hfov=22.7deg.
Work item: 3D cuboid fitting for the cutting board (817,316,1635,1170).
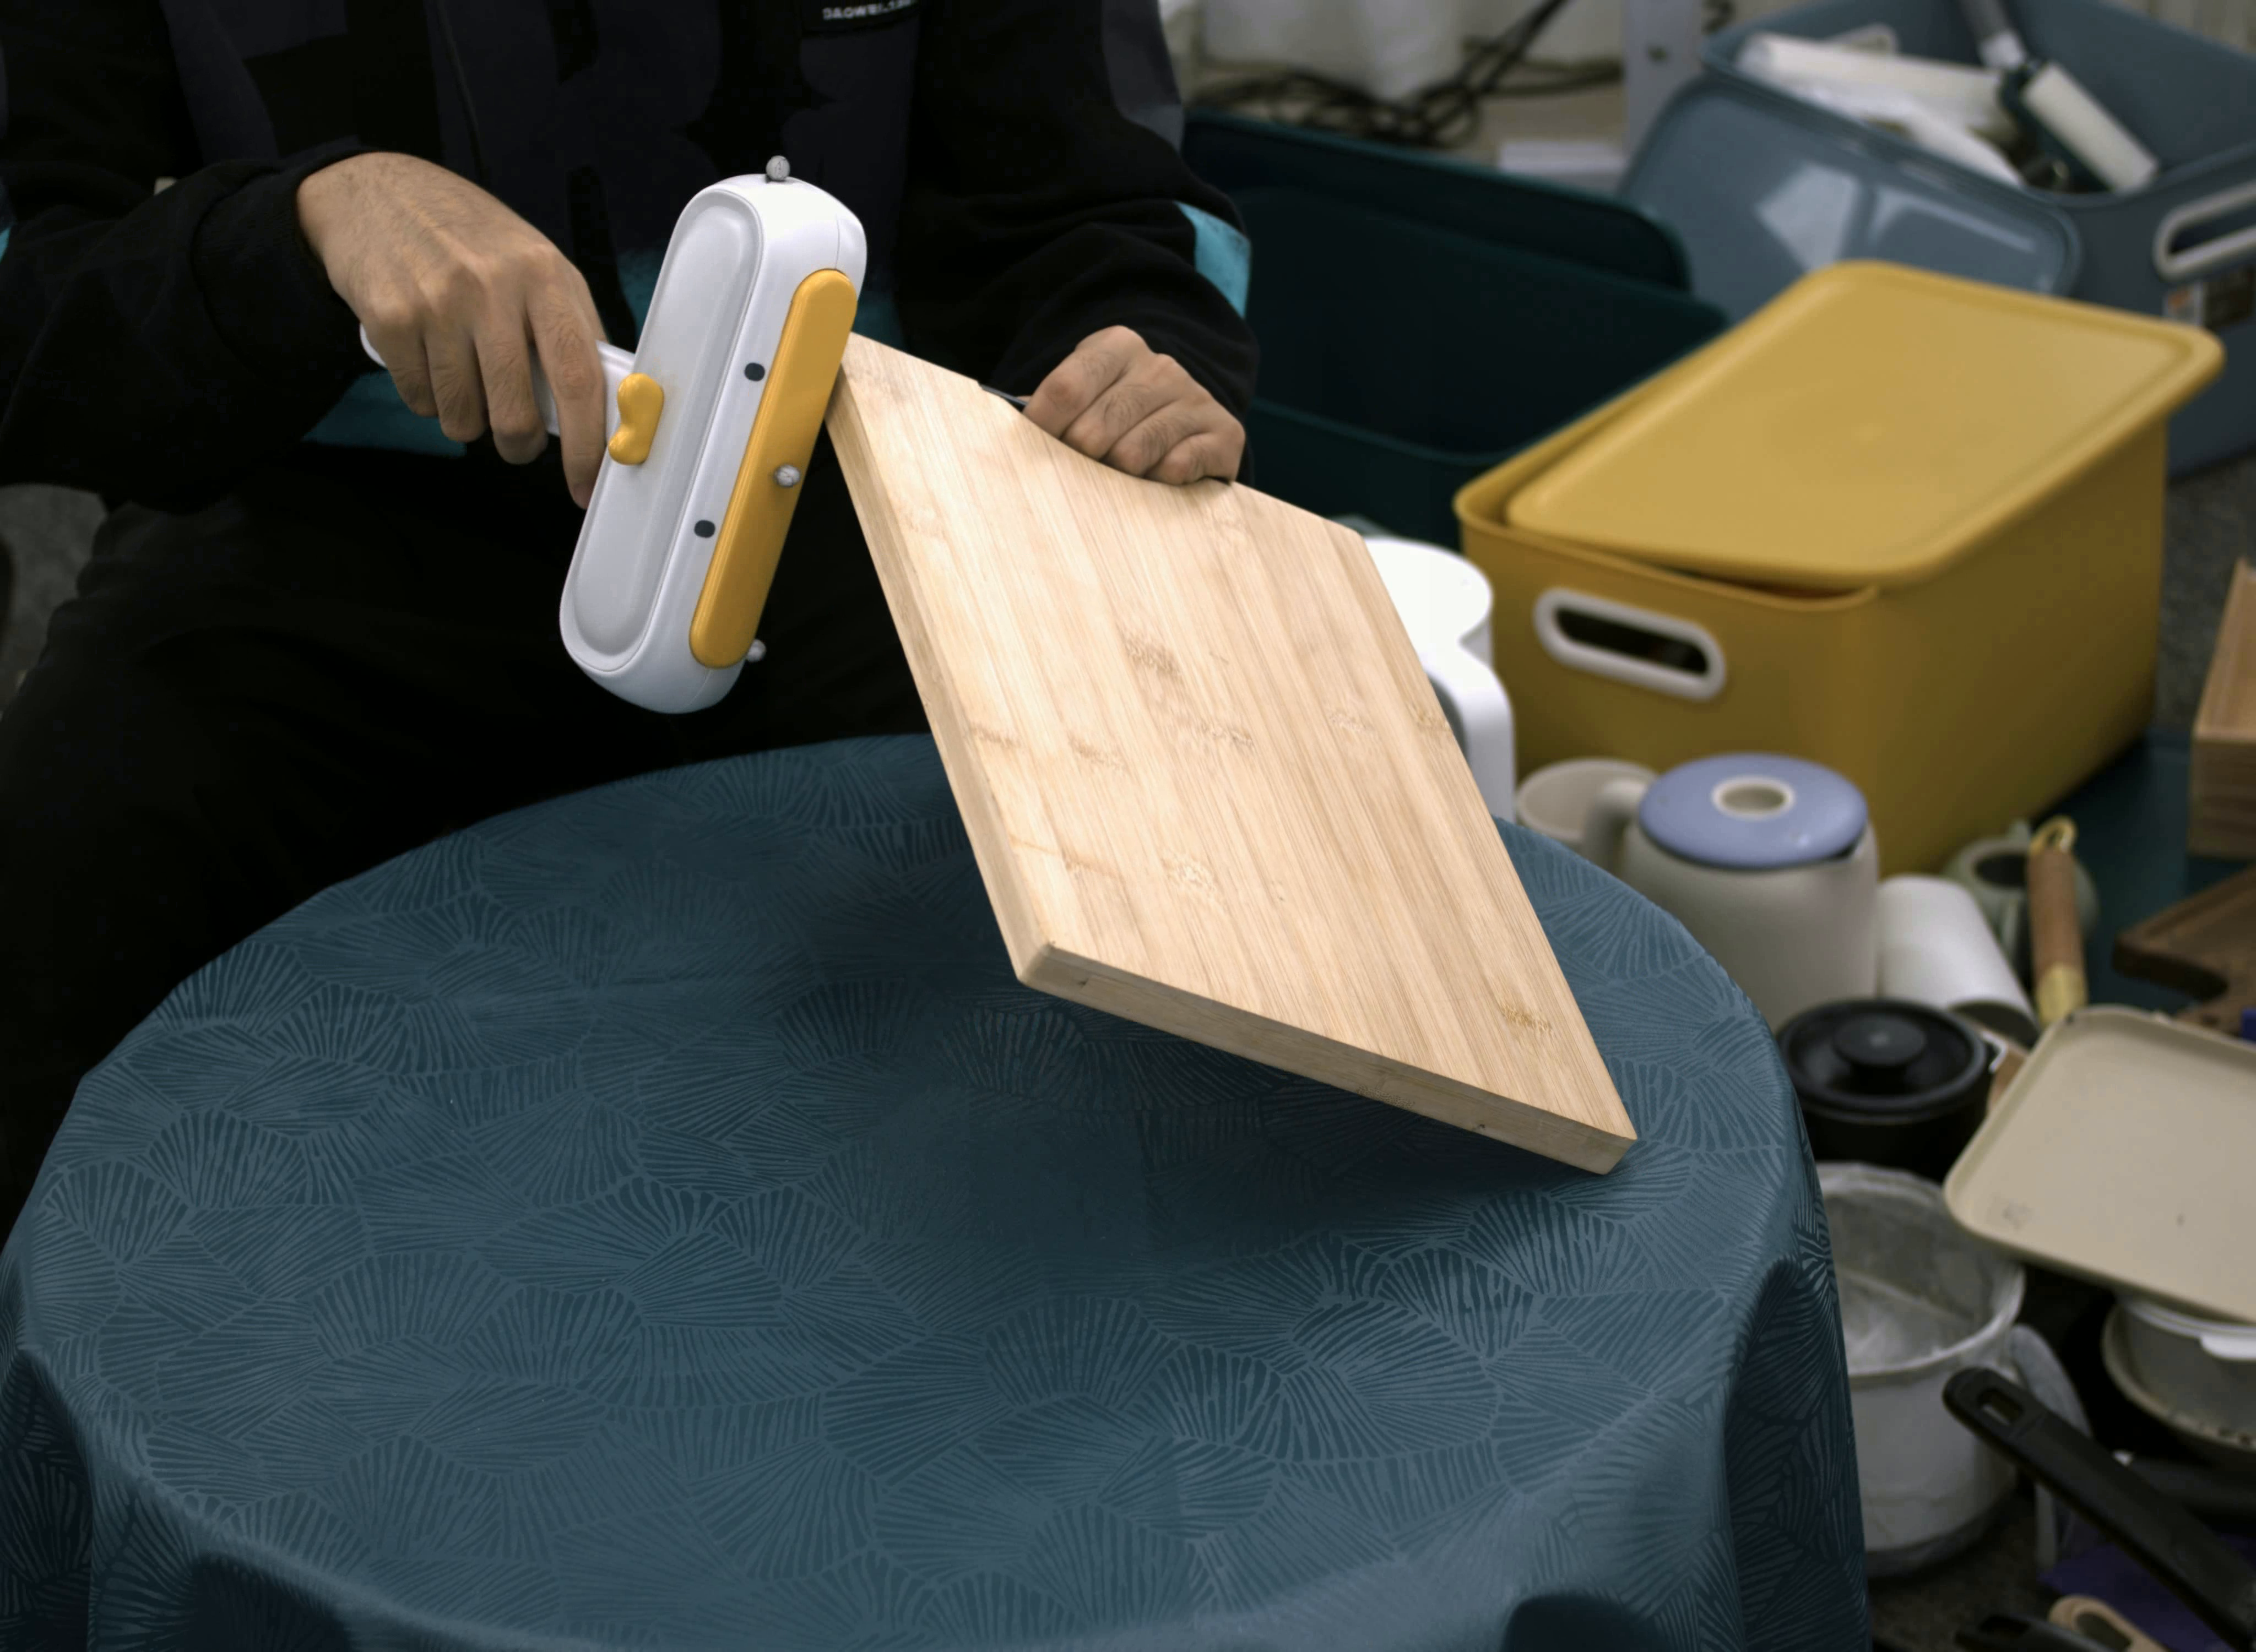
[{"bbox_3d":[0.025,-0.033,1.926,0.250,0.023,0.354,20,30,-31],"label":"cutting board"}]

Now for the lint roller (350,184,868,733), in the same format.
[{"bbox_3d":[-0.190,-0.137,1.985,0.191,0.194,0.074,10,-3,38],"label":"lint roller"}]
